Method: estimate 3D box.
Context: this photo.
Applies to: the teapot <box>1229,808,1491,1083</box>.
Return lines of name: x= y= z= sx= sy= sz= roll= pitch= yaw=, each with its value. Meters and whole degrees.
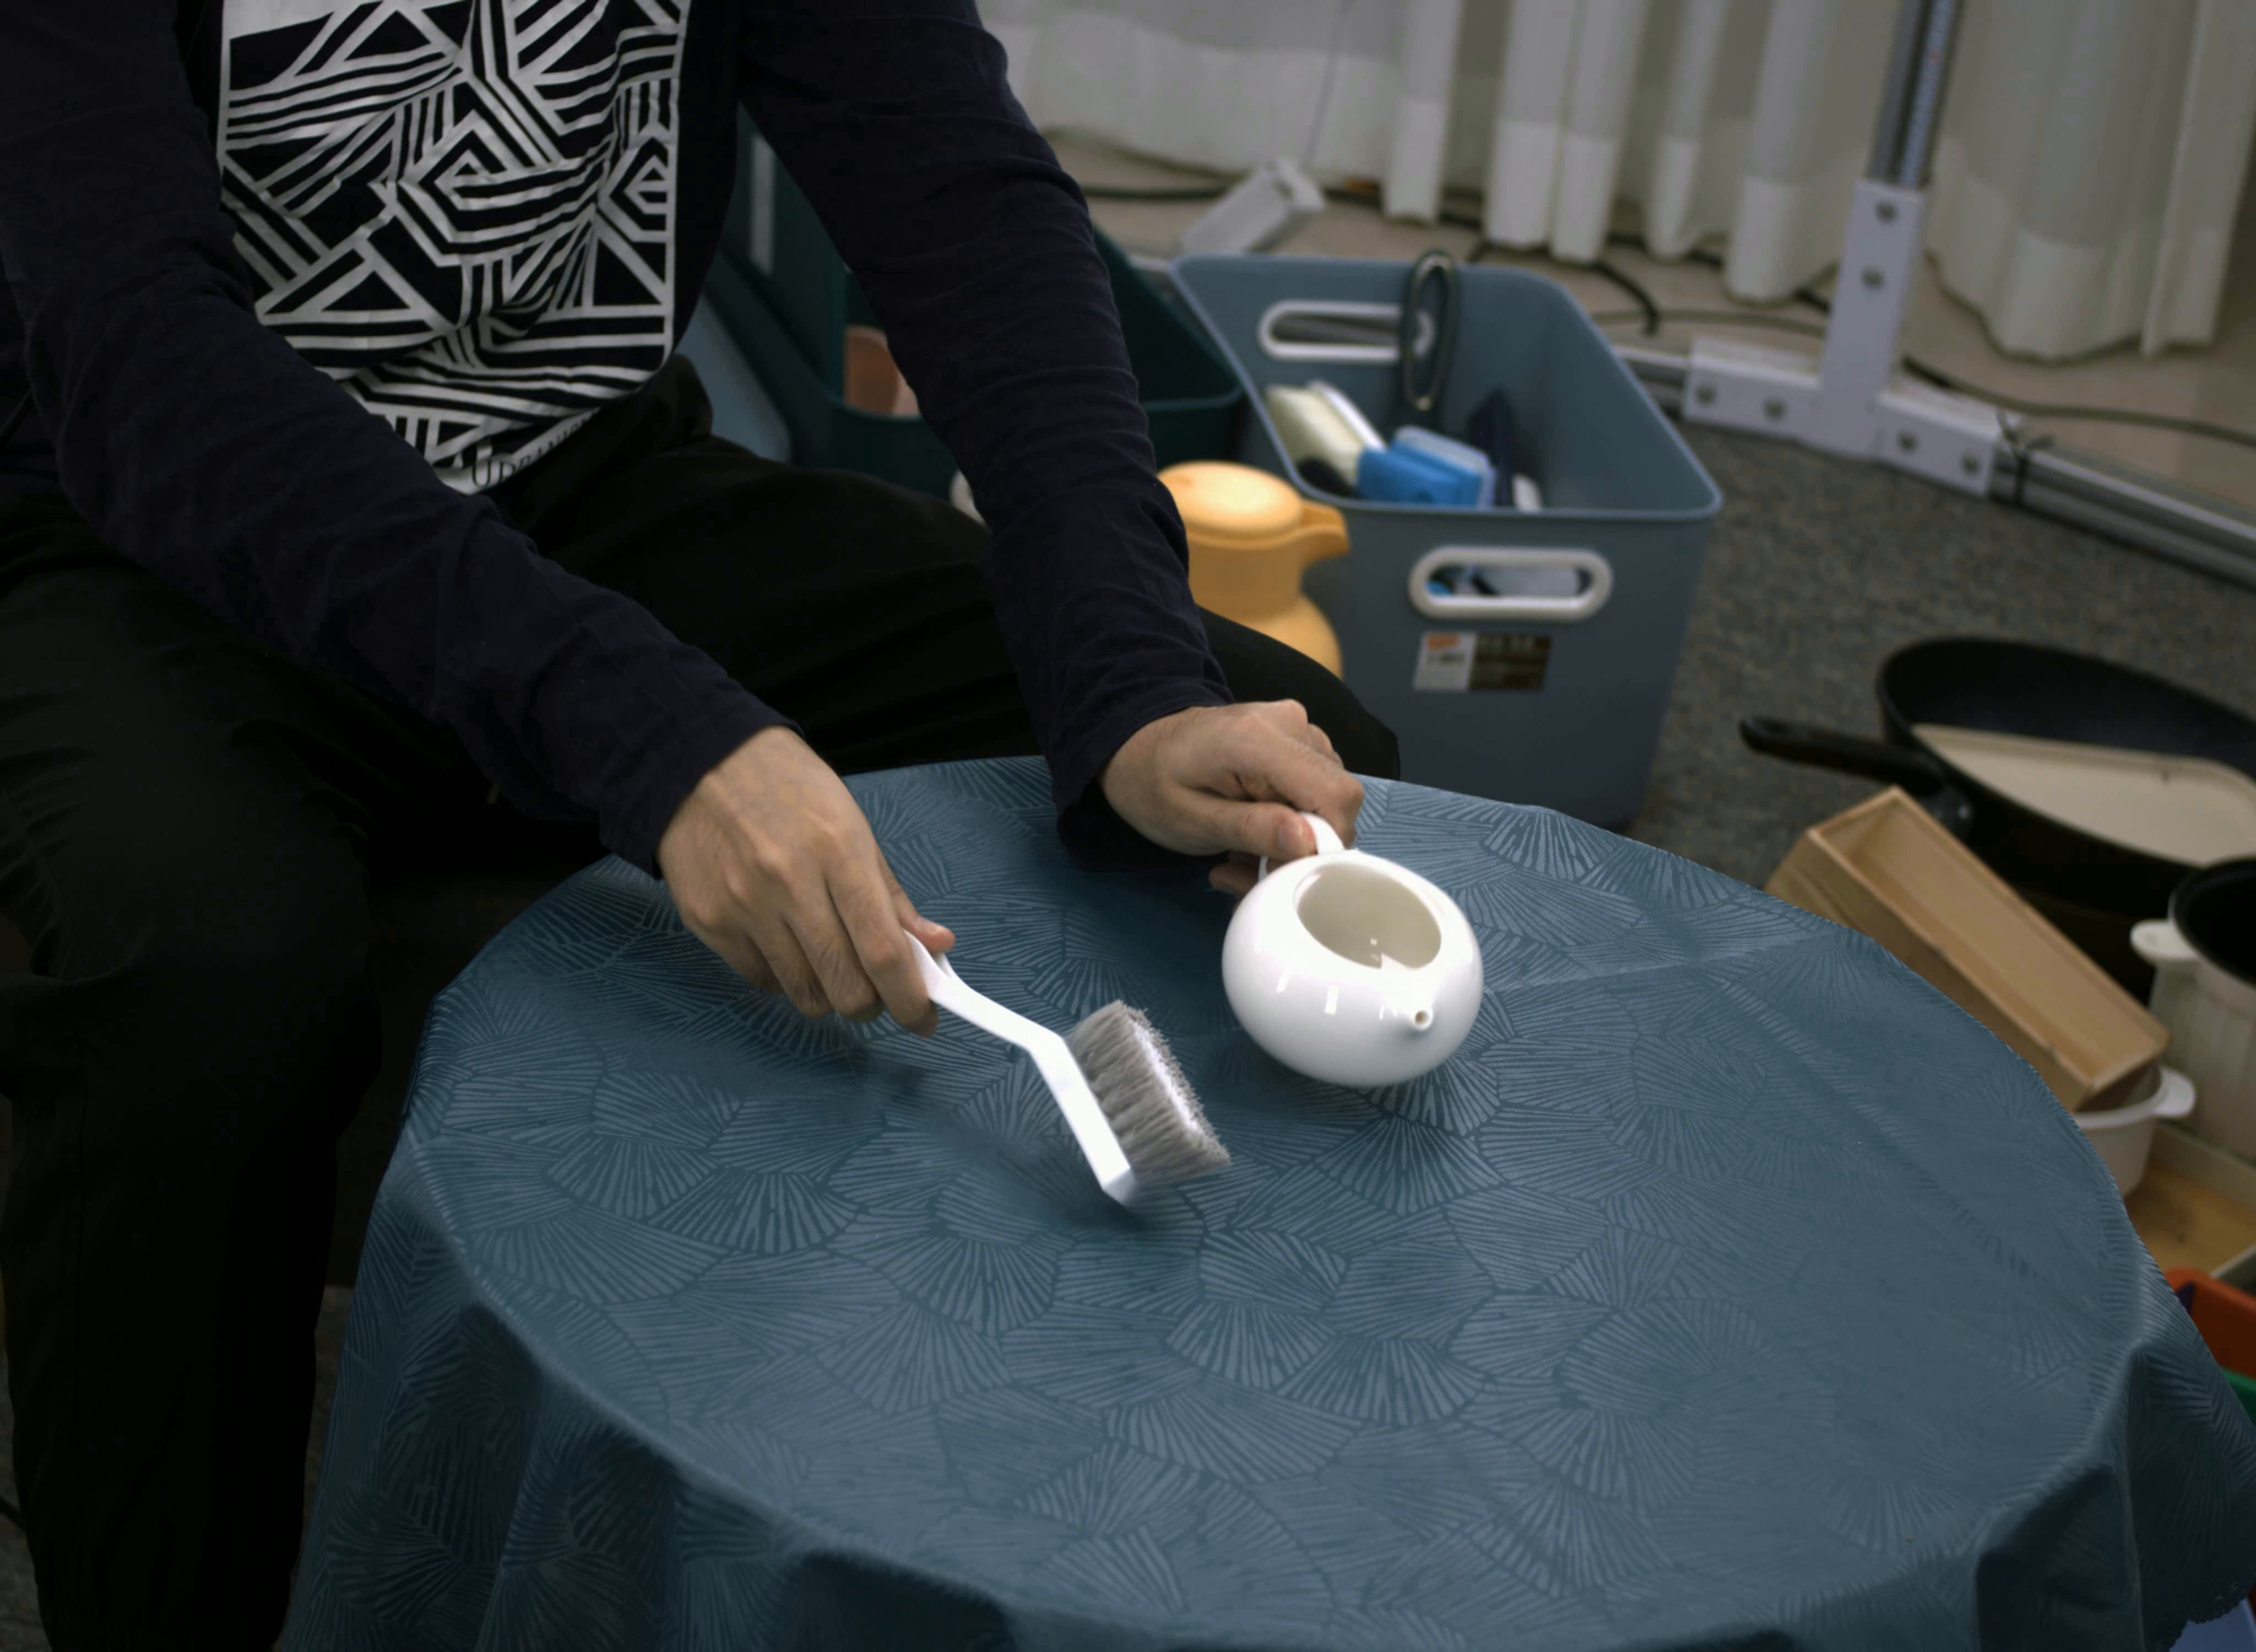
teapot: x=0.077 y=0.043 z=1.888 sx=0.093 sy=0.056 sz=0.128 roll=-10 pitch=43 yaw=-23

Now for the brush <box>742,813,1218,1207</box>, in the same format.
brush: x=-0.053 y=0.048 z=1.847 sx=0.246 sy=0.050 sz=0.034 roll=42 pitch=11 yaw=38
